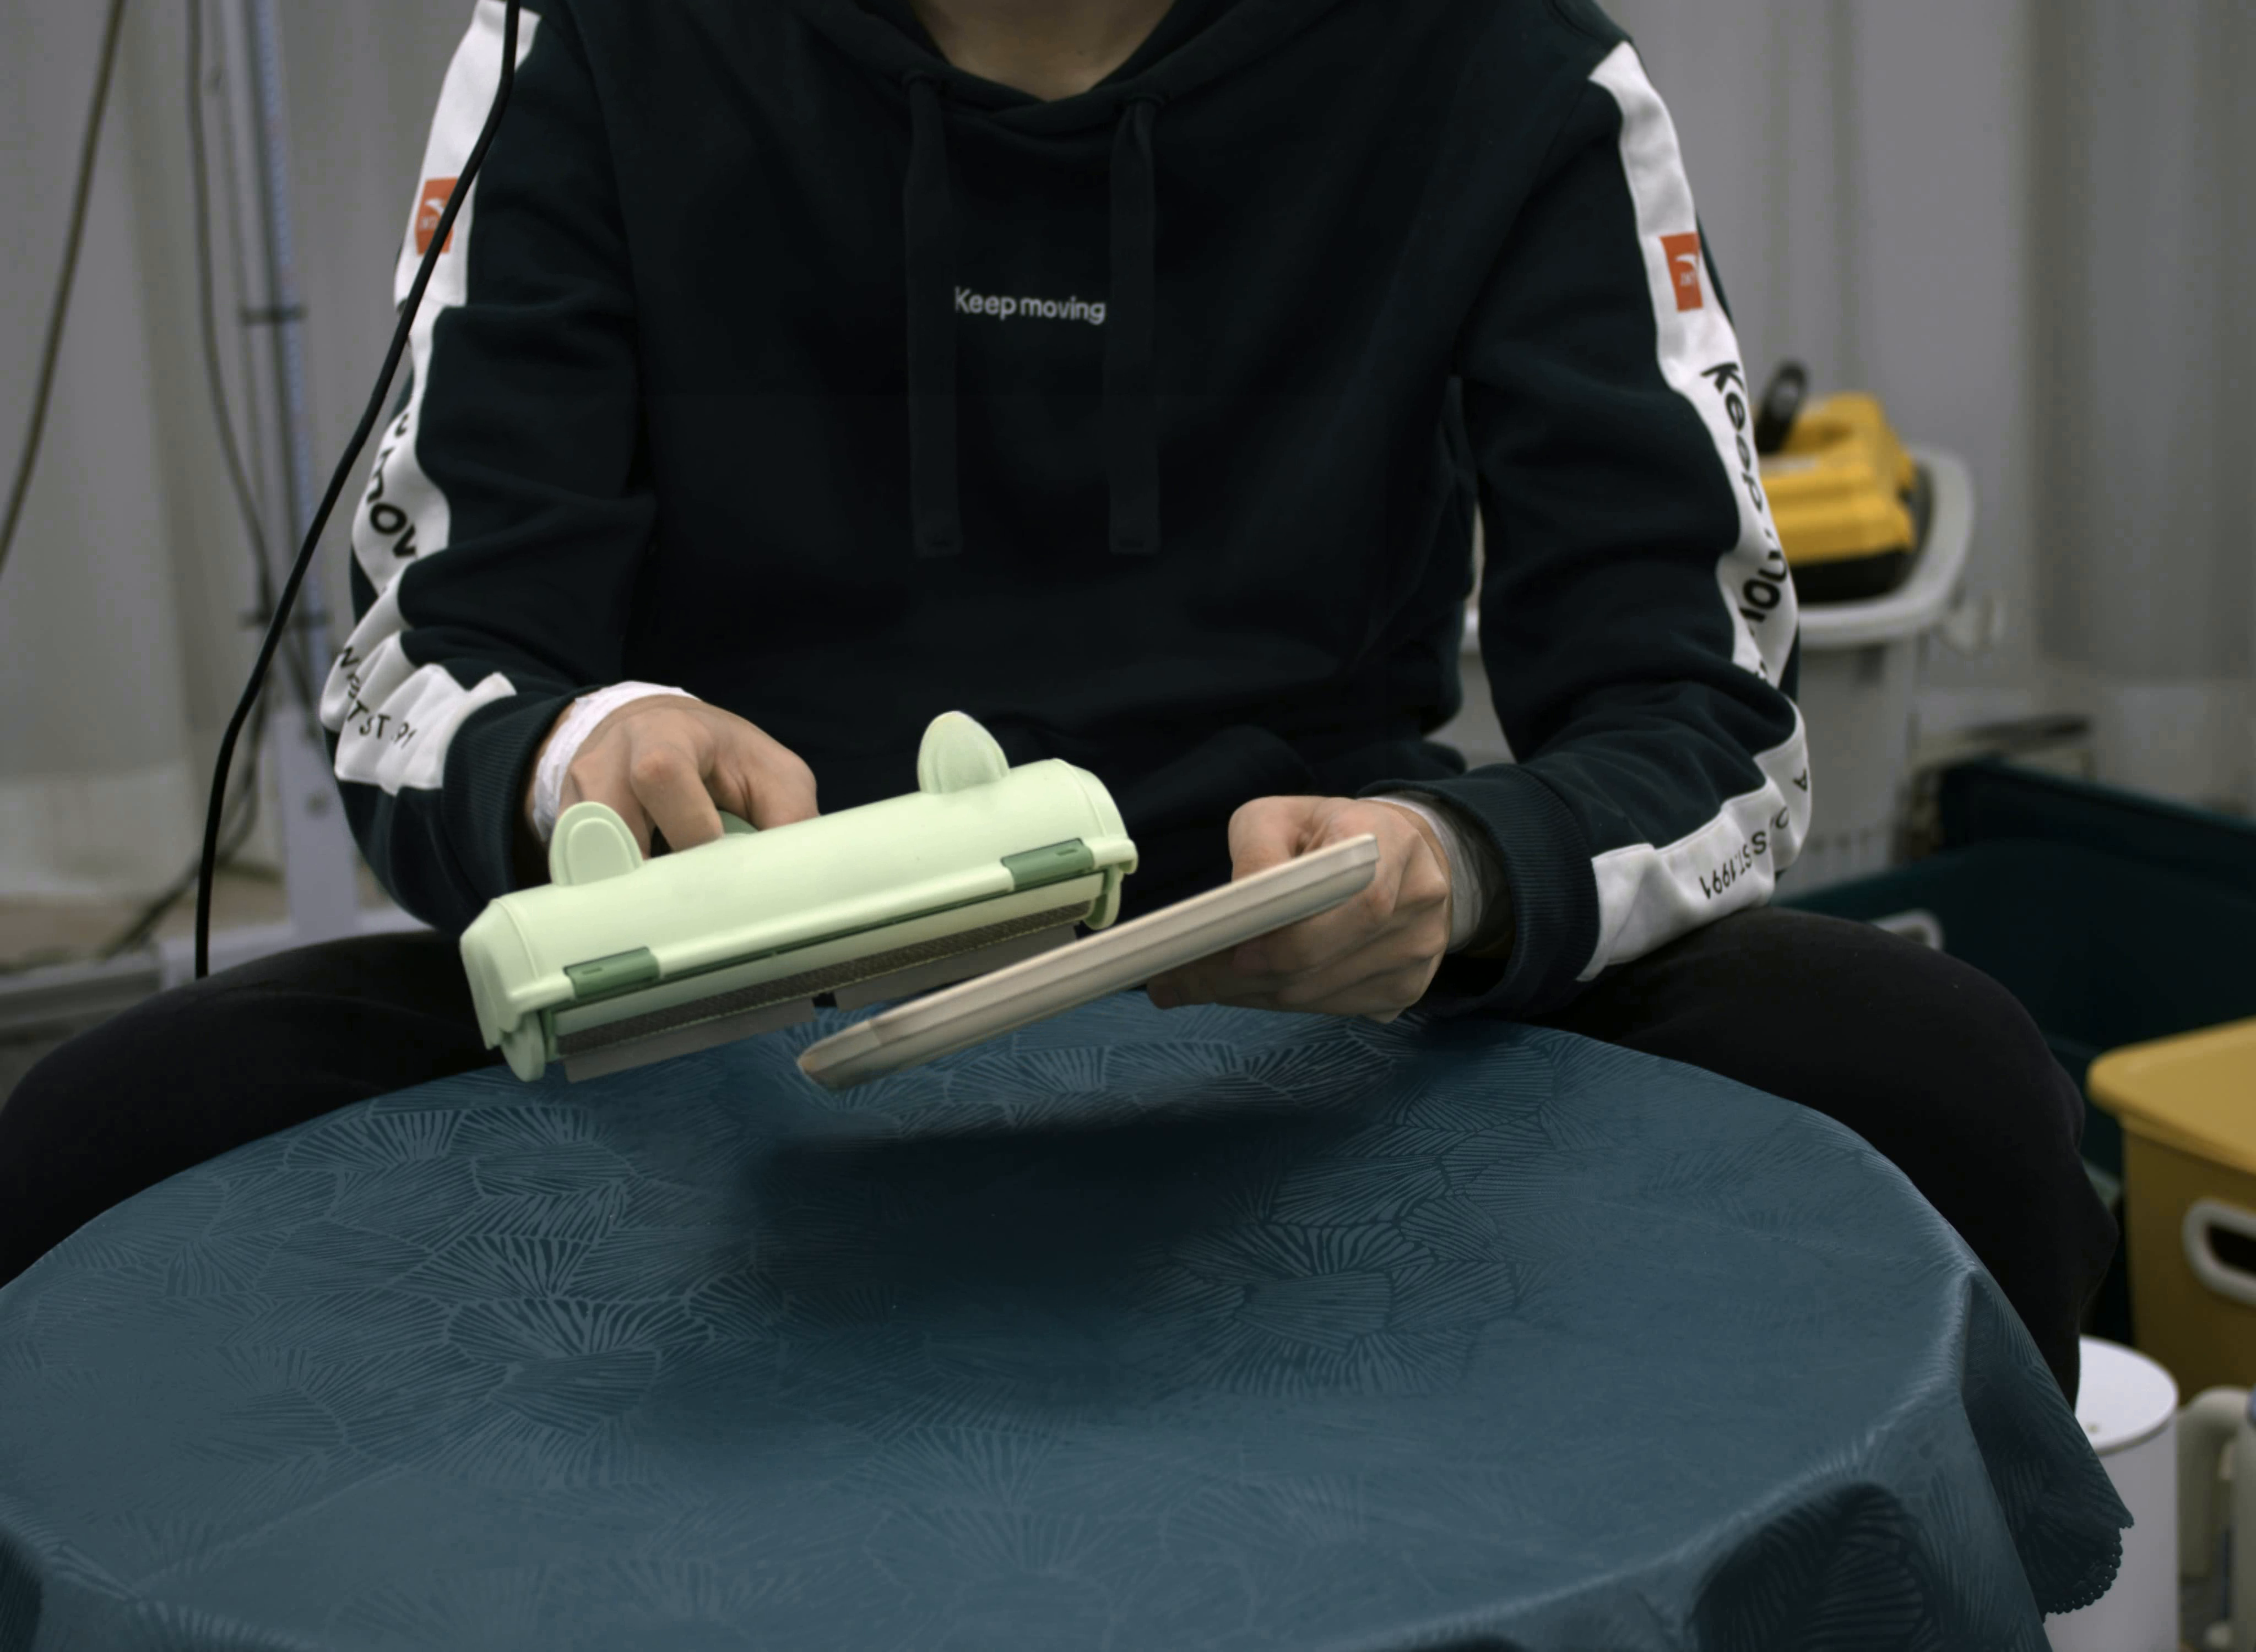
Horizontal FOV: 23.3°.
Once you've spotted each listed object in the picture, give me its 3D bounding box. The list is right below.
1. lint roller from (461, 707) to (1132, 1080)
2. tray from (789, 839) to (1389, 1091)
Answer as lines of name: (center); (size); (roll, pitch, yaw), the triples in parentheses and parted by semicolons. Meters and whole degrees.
lint roller: (-0.119, 0.003, 1.661); (0.198, 0.081, 0.185); (-15, 23, -19)
tray: (-0.014, 0.046, 1.675); (0.171, 0.017, 0.239); (-19, -2, -9)
